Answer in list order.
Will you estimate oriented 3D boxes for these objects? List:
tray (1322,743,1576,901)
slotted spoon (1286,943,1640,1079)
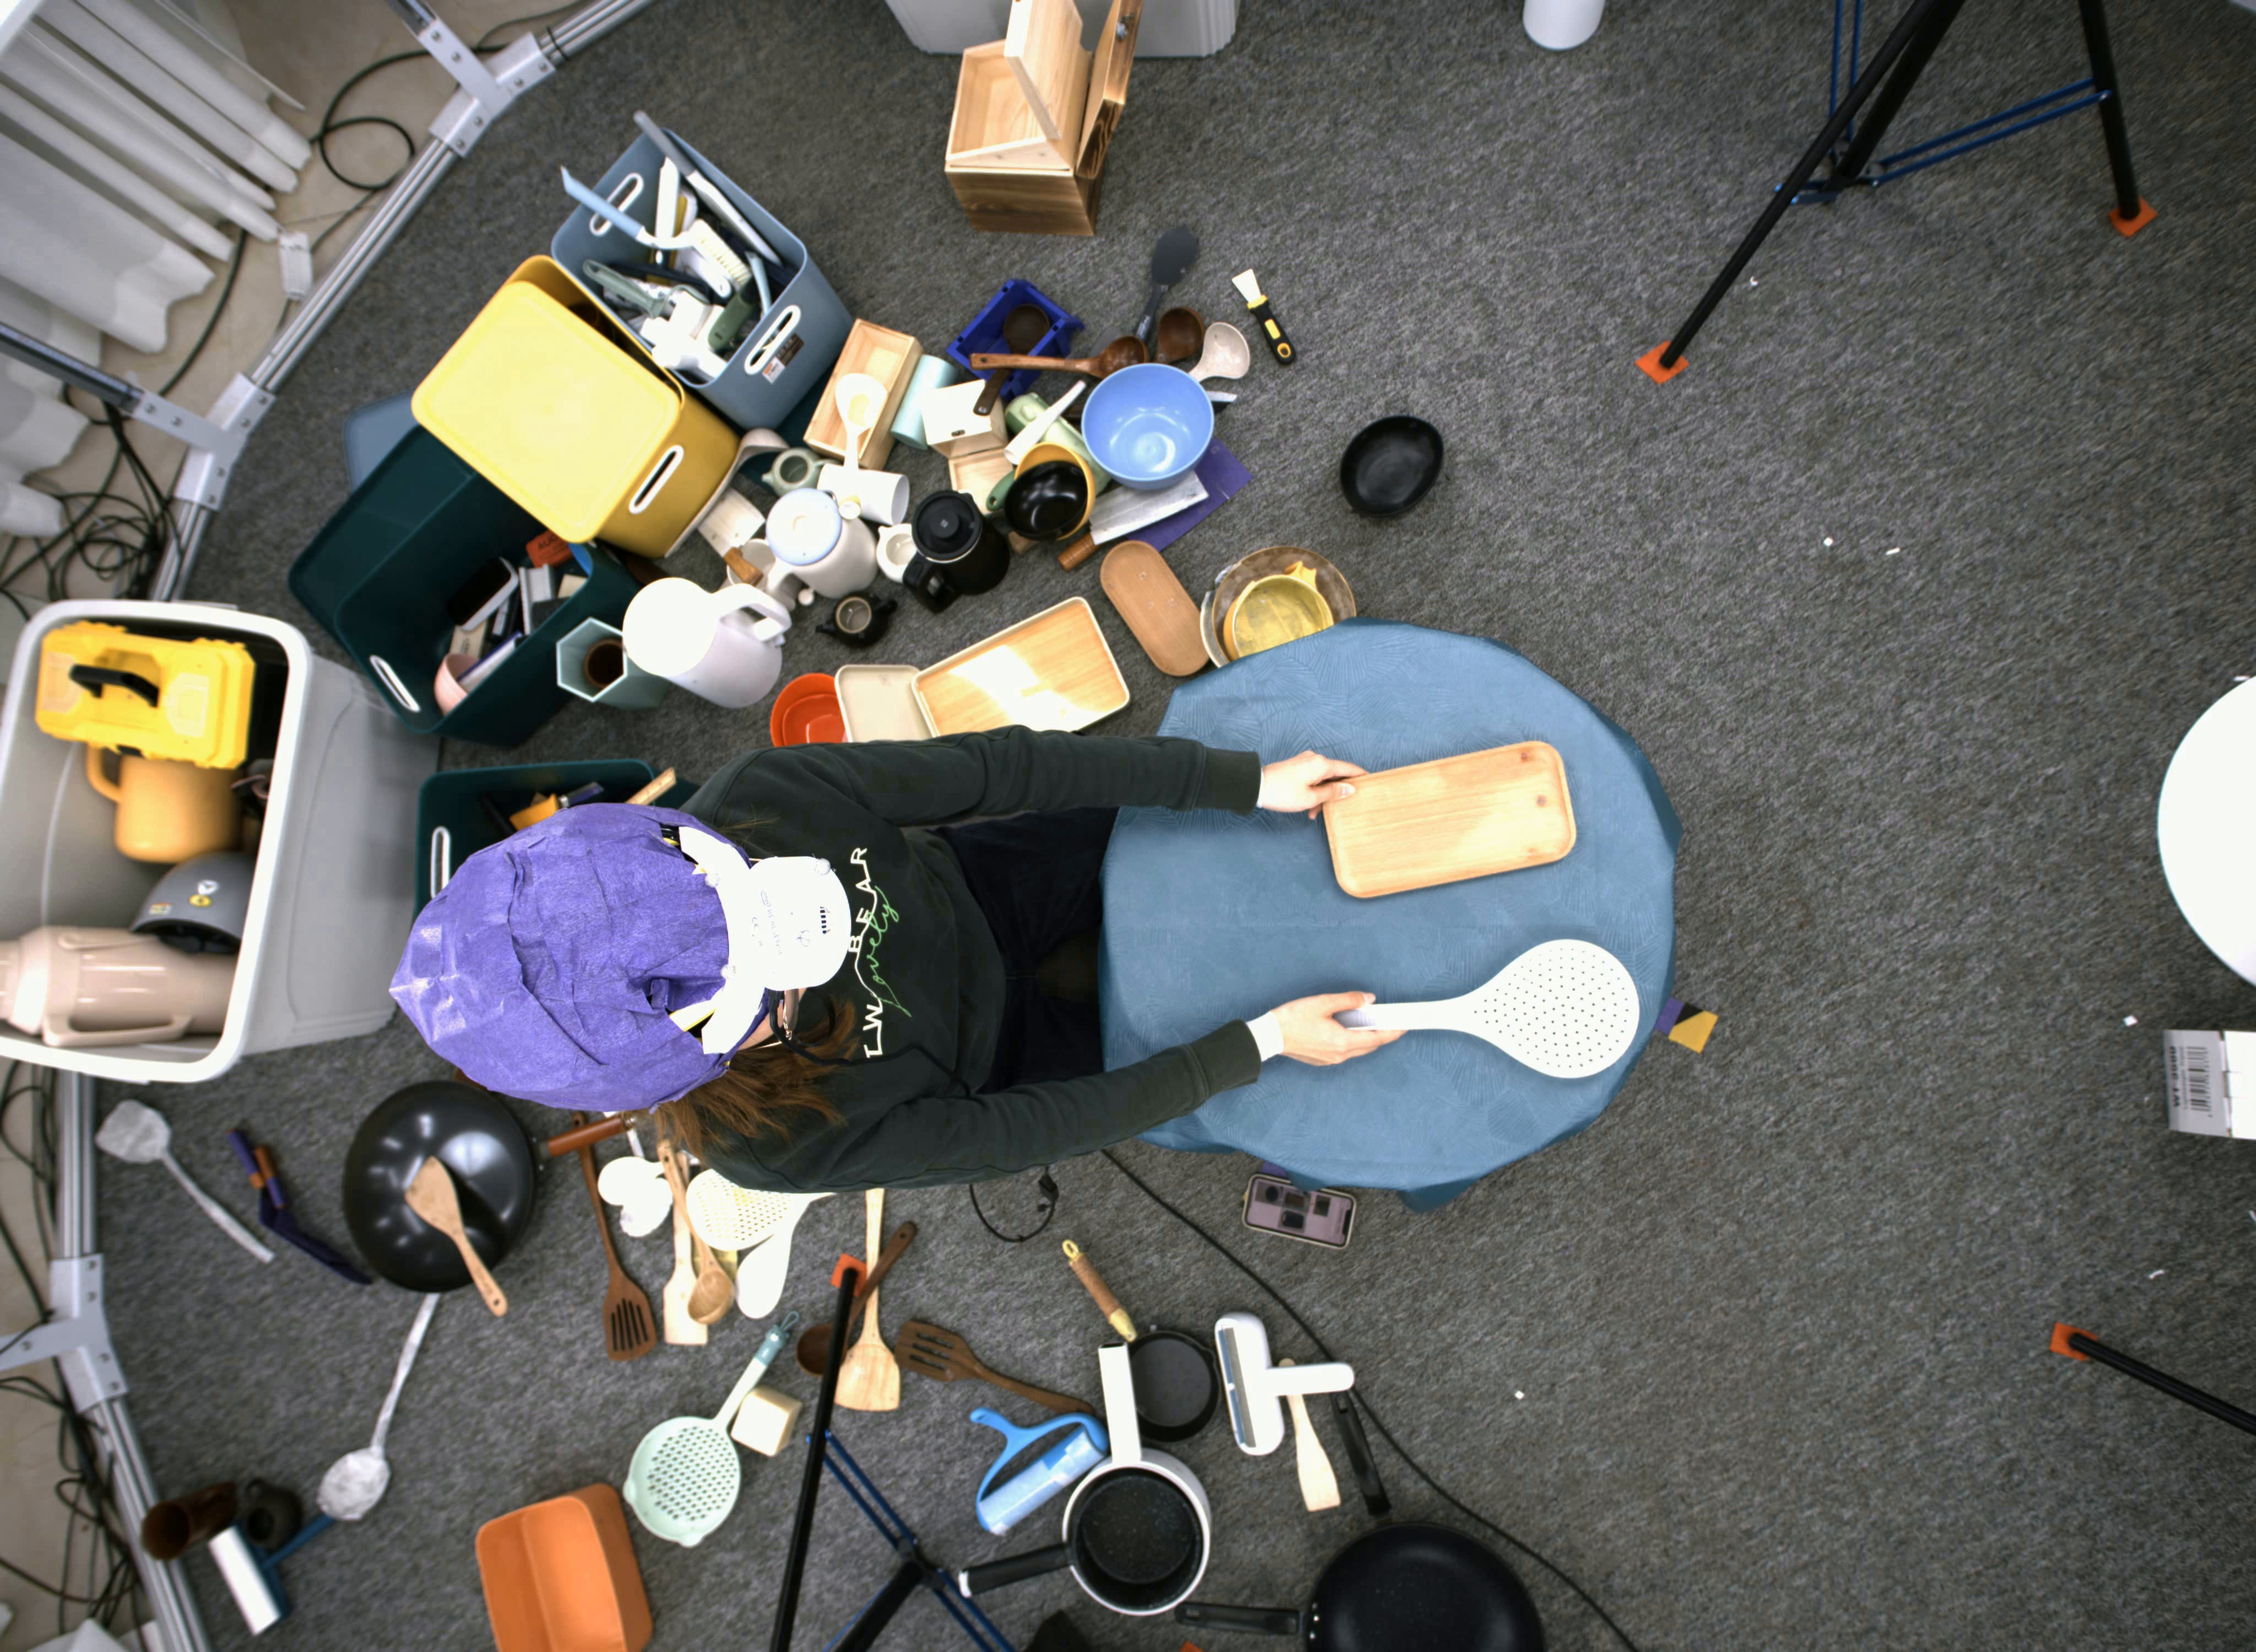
[{"bbox_3d":[0.334,-0.005,1.436,0.252,0.023,0.130,-11,91,9],"label":"tray"},{"bbox_3d":[0.337,0.191,1.407,0.351,0.046,0.135,-4,88,7],"label":"slotted spoon"}]
